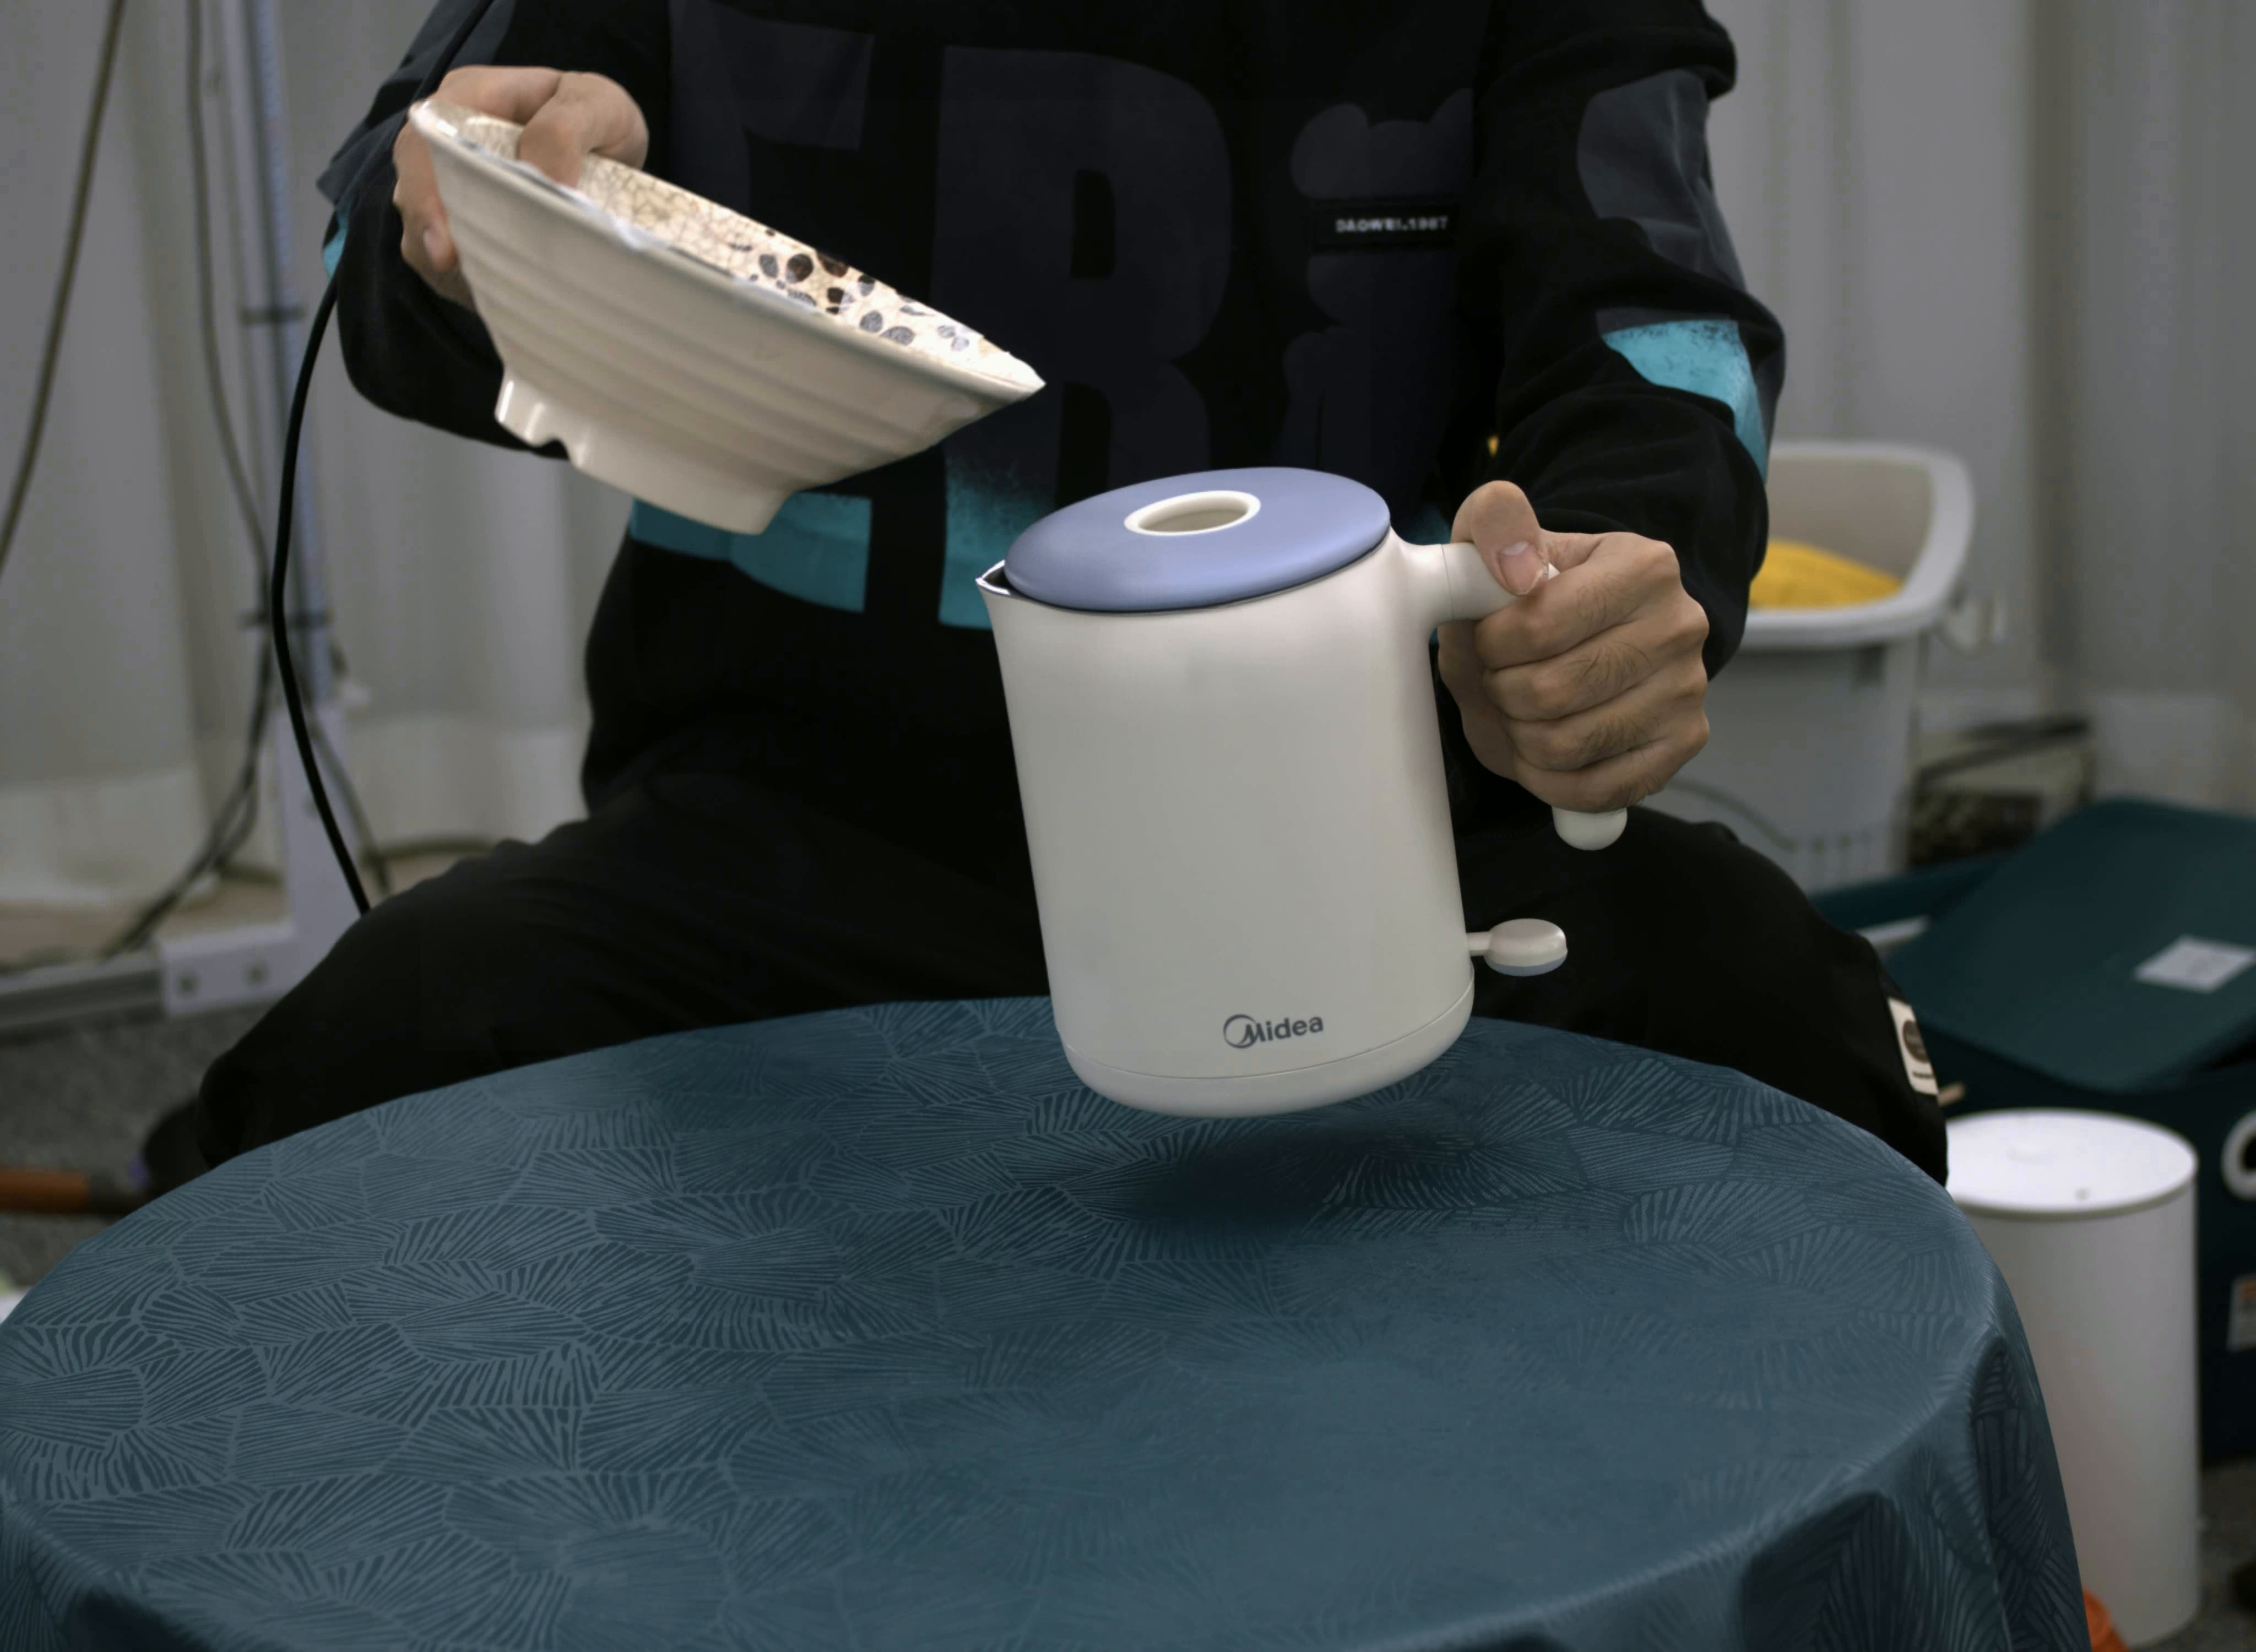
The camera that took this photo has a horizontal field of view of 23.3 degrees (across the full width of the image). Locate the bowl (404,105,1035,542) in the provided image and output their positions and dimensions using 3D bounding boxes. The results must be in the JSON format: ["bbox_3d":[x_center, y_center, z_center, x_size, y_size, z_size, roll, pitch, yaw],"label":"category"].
[{"bbox_3d":[-0.134,-0.137,1.622,0.203,0.078,0.204,24,6,-3],"label":"bowl"}]

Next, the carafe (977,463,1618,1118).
[{"bbox_3d":[0.056,-0.015,1.687,0.190,0.181,0.133,-7,20,-2],"label":"carafe"}]
